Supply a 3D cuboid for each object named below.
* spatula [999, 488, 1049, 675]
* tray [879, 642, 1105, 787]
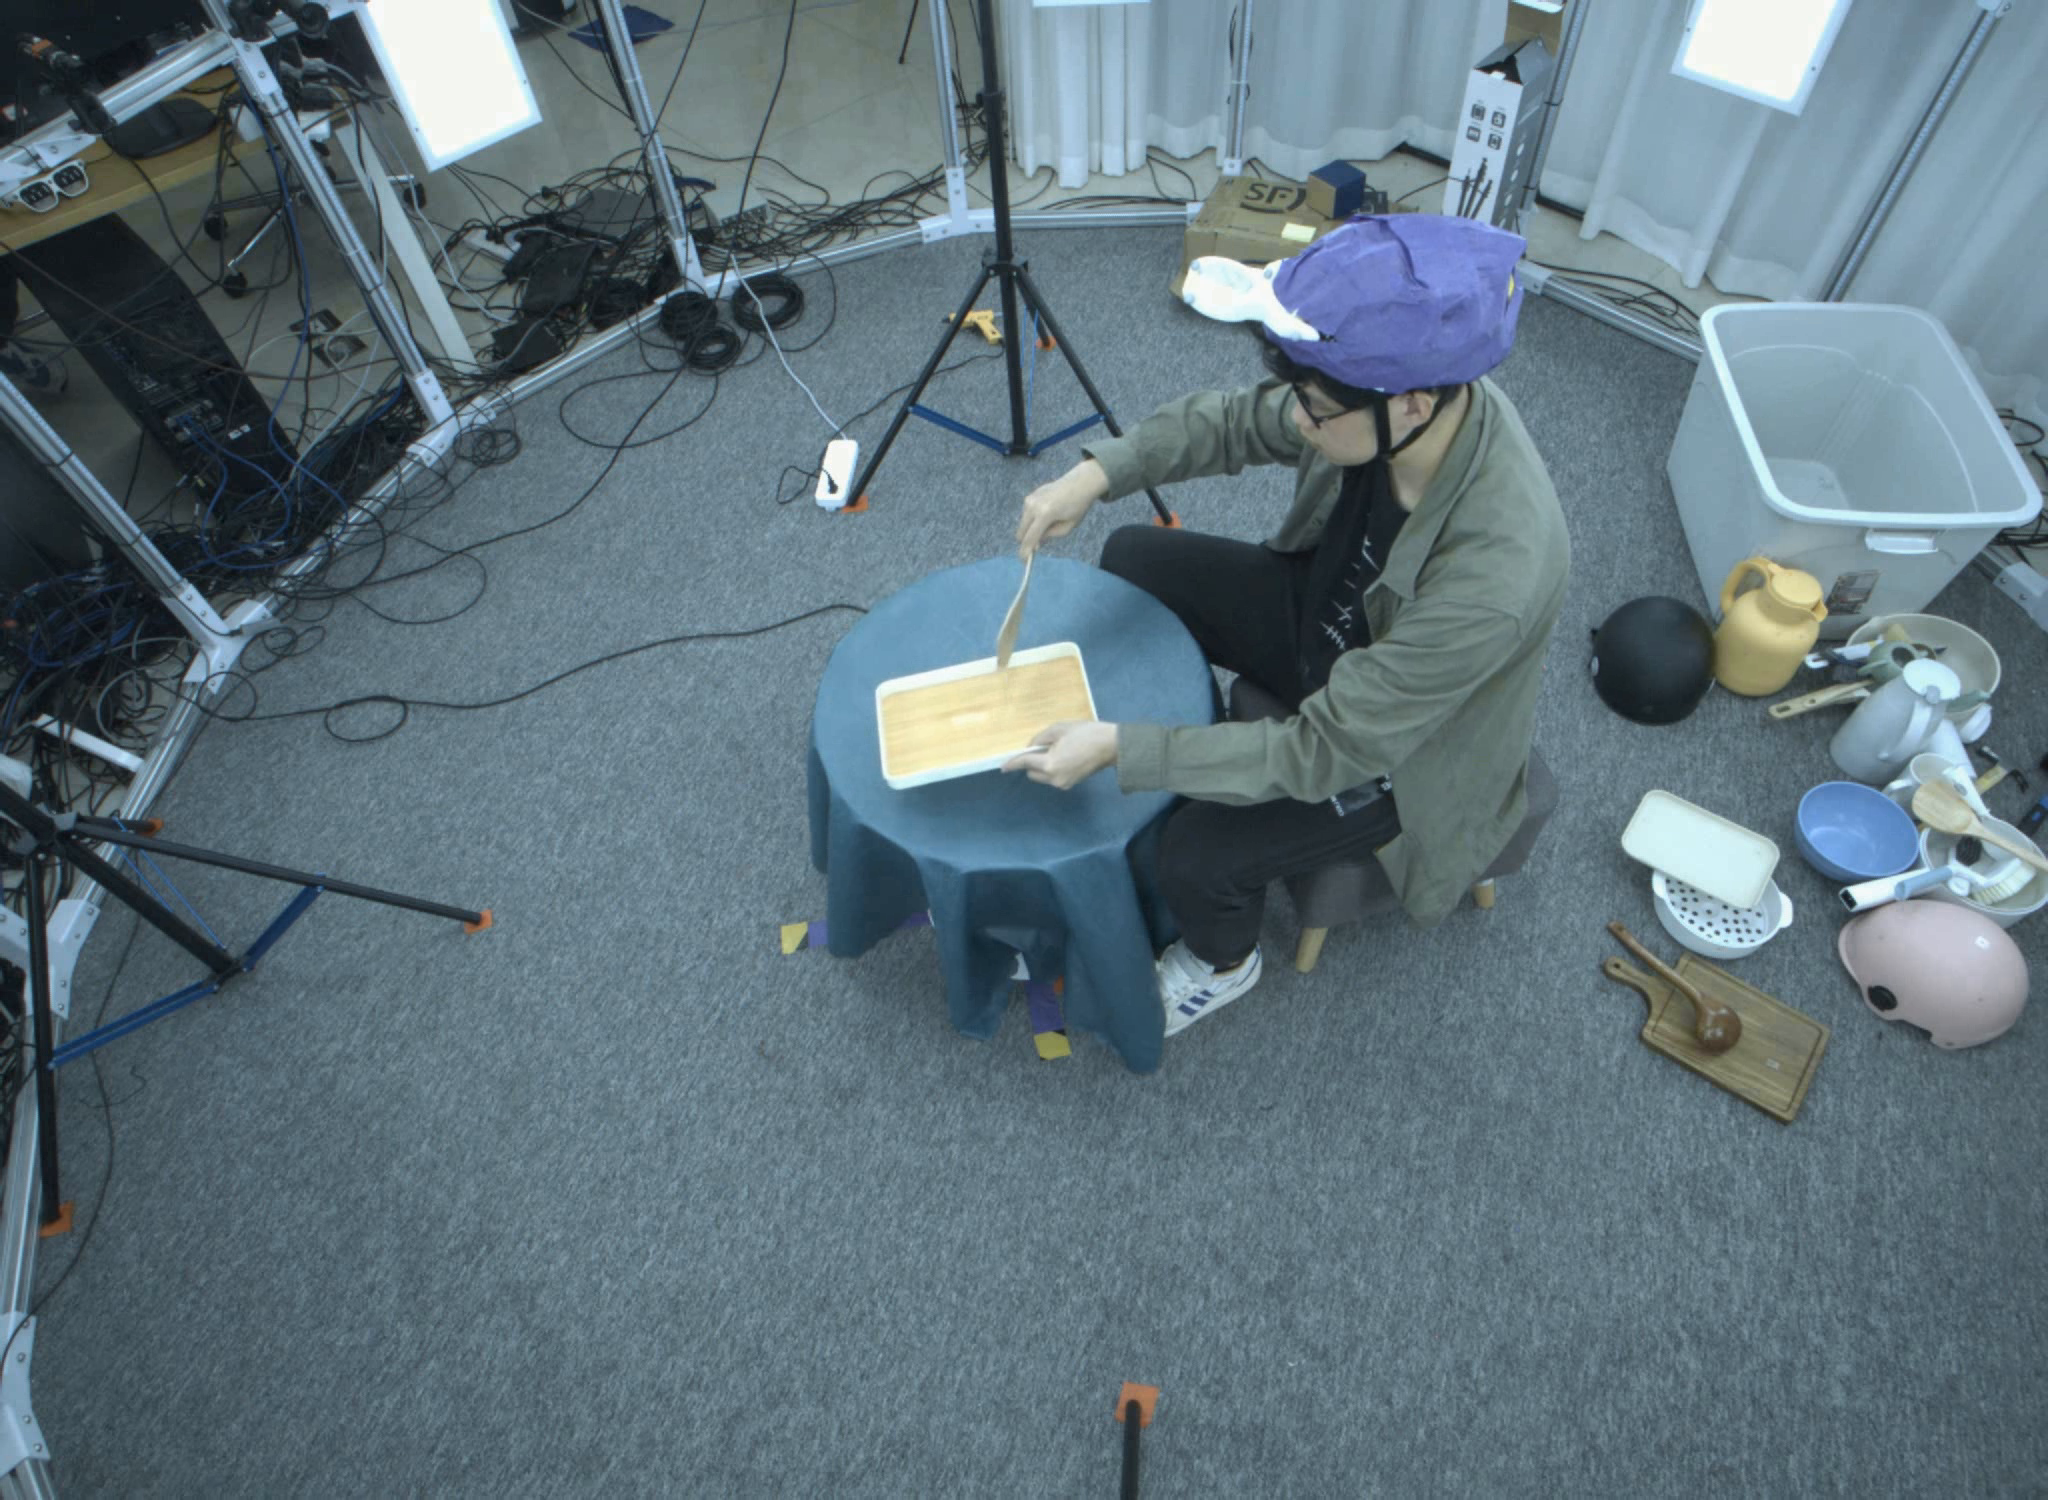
[{"bbox_3d":[0.001,-0.255,1.744,0.016,0.081,0.325,7,57,8],"label":"spatula"},{"bbox_3d":[-0.049,-0.053,1.717,0.300,0.028,0.189,-11,50,-1],"label":"tray"}]
